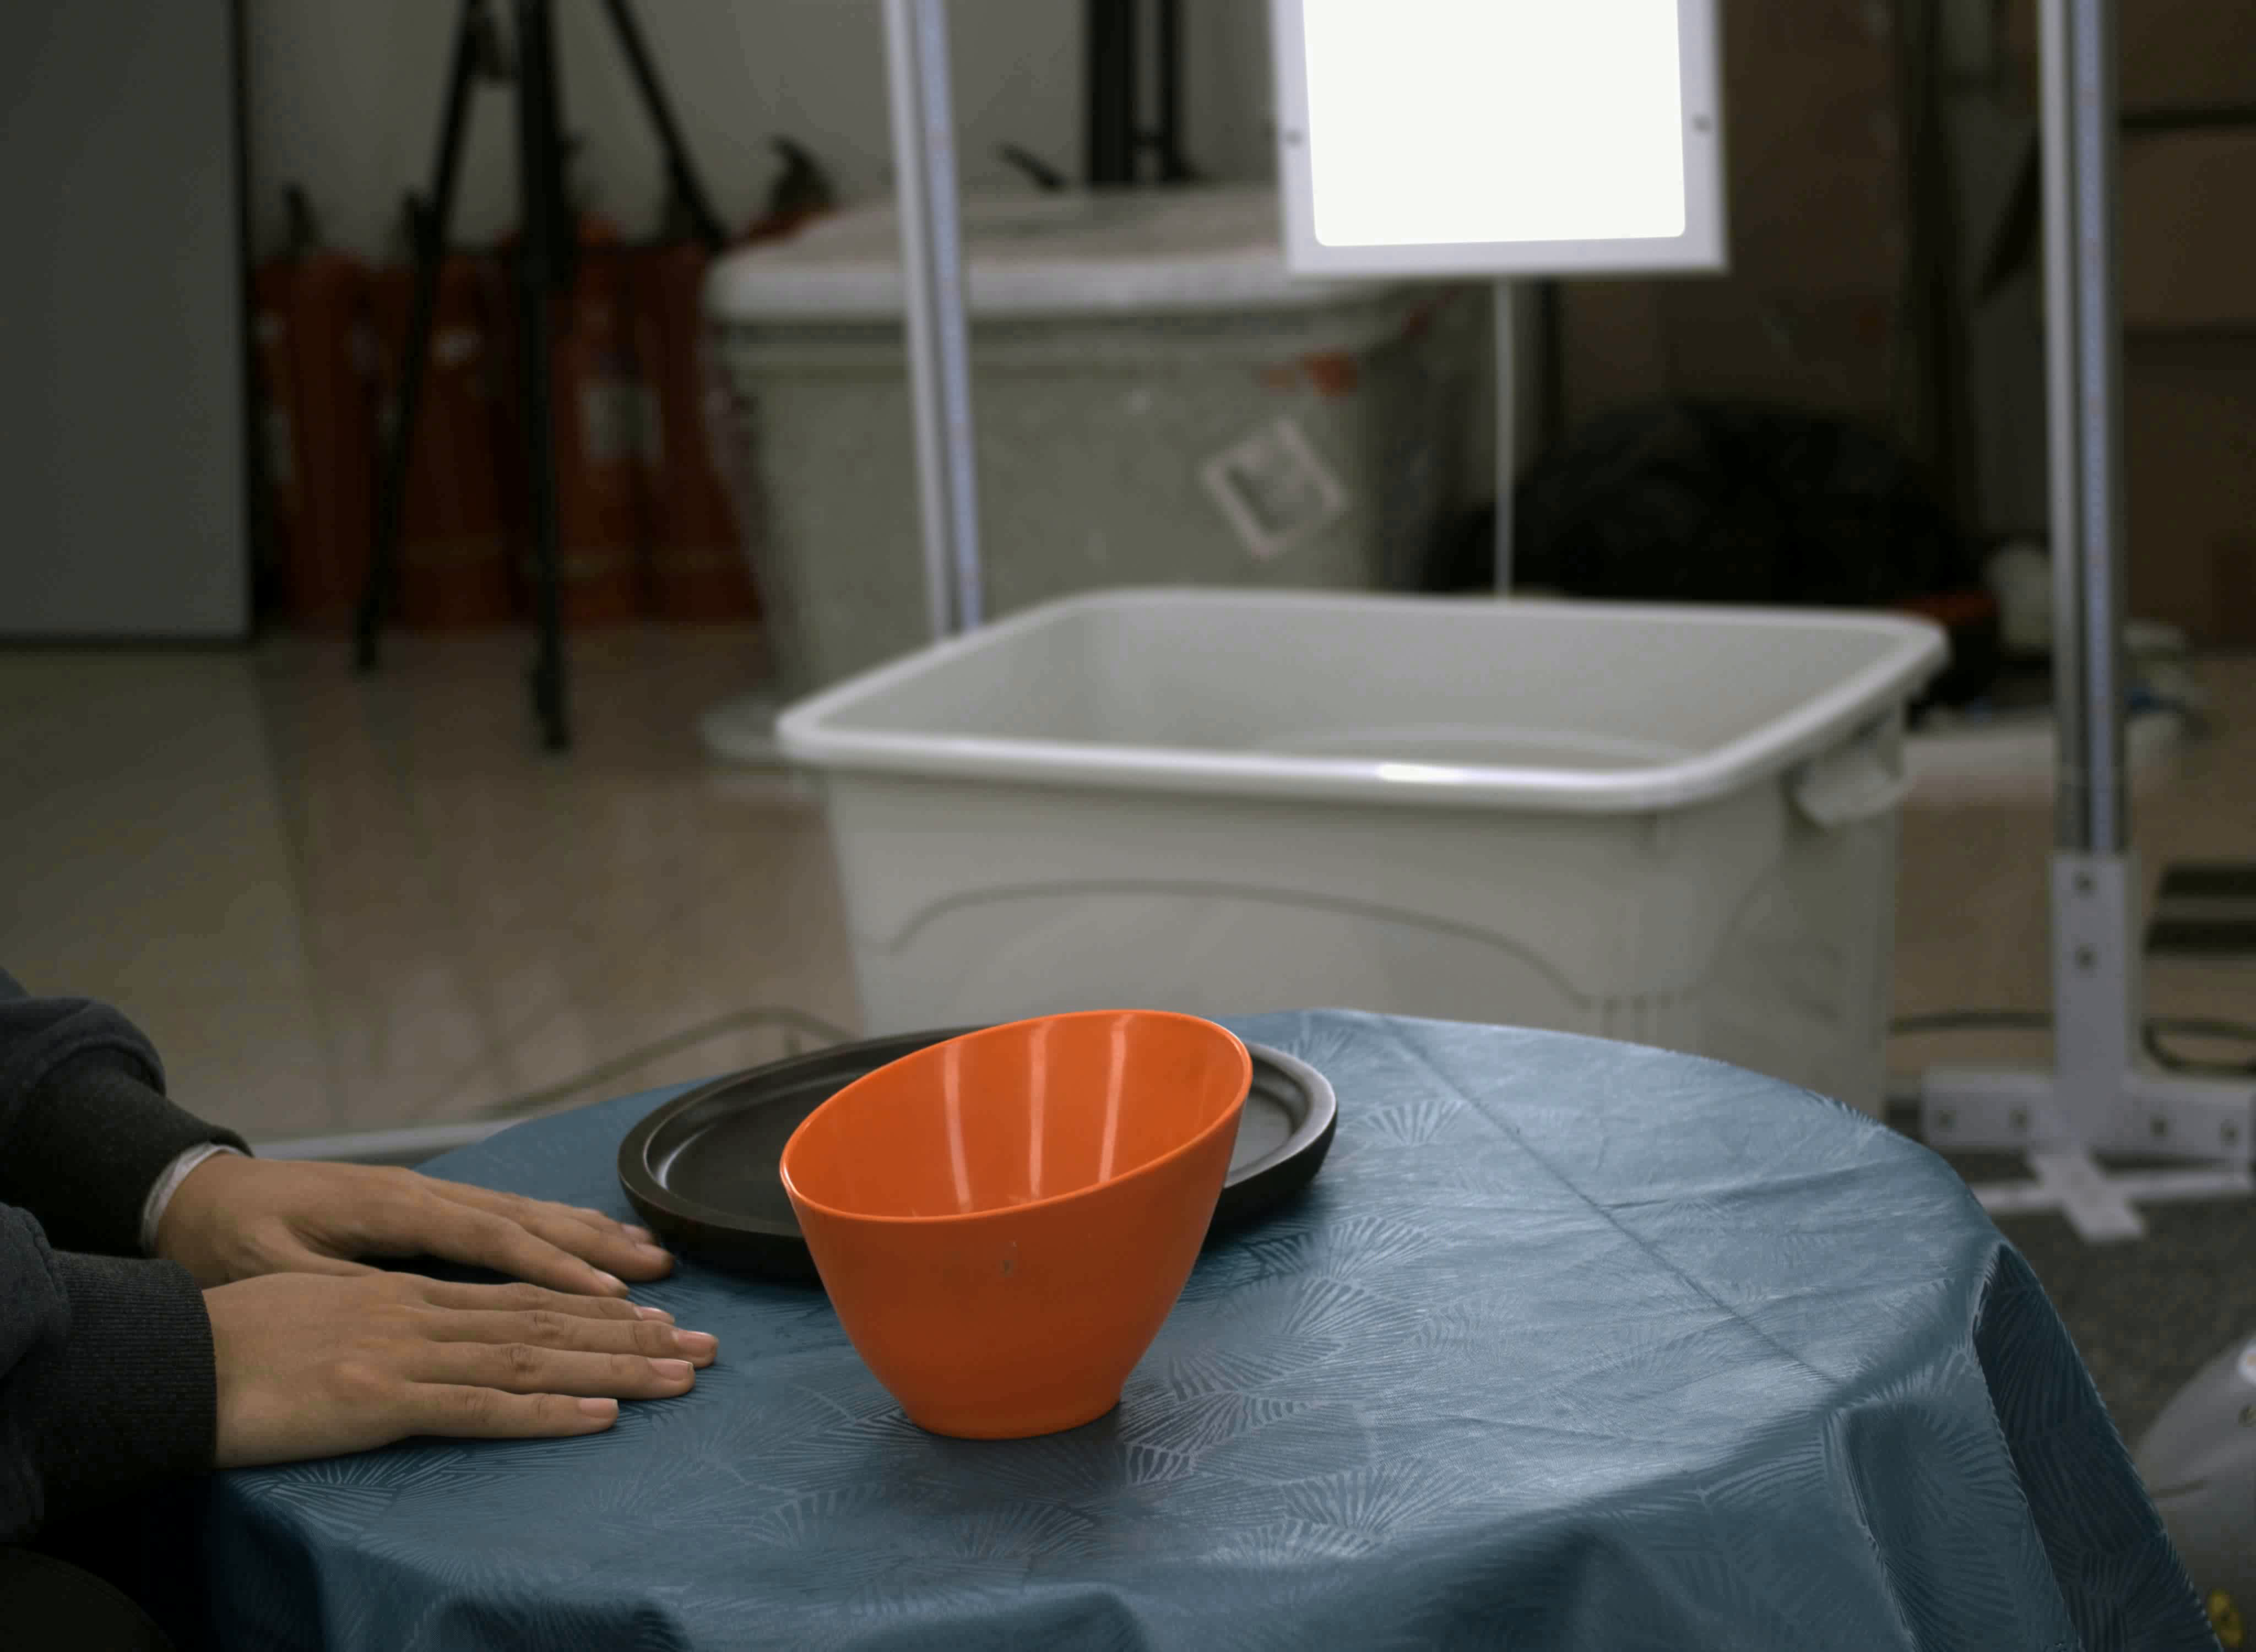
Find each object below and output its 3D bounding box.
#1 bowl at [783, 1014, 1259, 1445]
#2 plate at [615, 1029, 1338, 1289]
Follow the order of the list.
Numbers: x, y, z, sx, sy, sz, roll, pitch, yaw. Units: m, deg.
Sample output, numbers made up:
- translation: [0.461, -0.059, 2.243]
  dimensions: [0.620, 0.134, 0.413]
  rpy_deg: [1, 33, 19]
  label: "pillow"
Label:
- translation: [-0.030, 0.127, 1.693]
  dimensions: [0.147, 0.105, 0.148]
  rpy_deg: [-5, 15, 0]
  label: "bowl"
- translation: [-0.052, 0.114, 1.919]
  dimensions: [0.254, 0.029, 0.254]
  rpy_deg: [-5, 15, 0]
  label: "plate"
